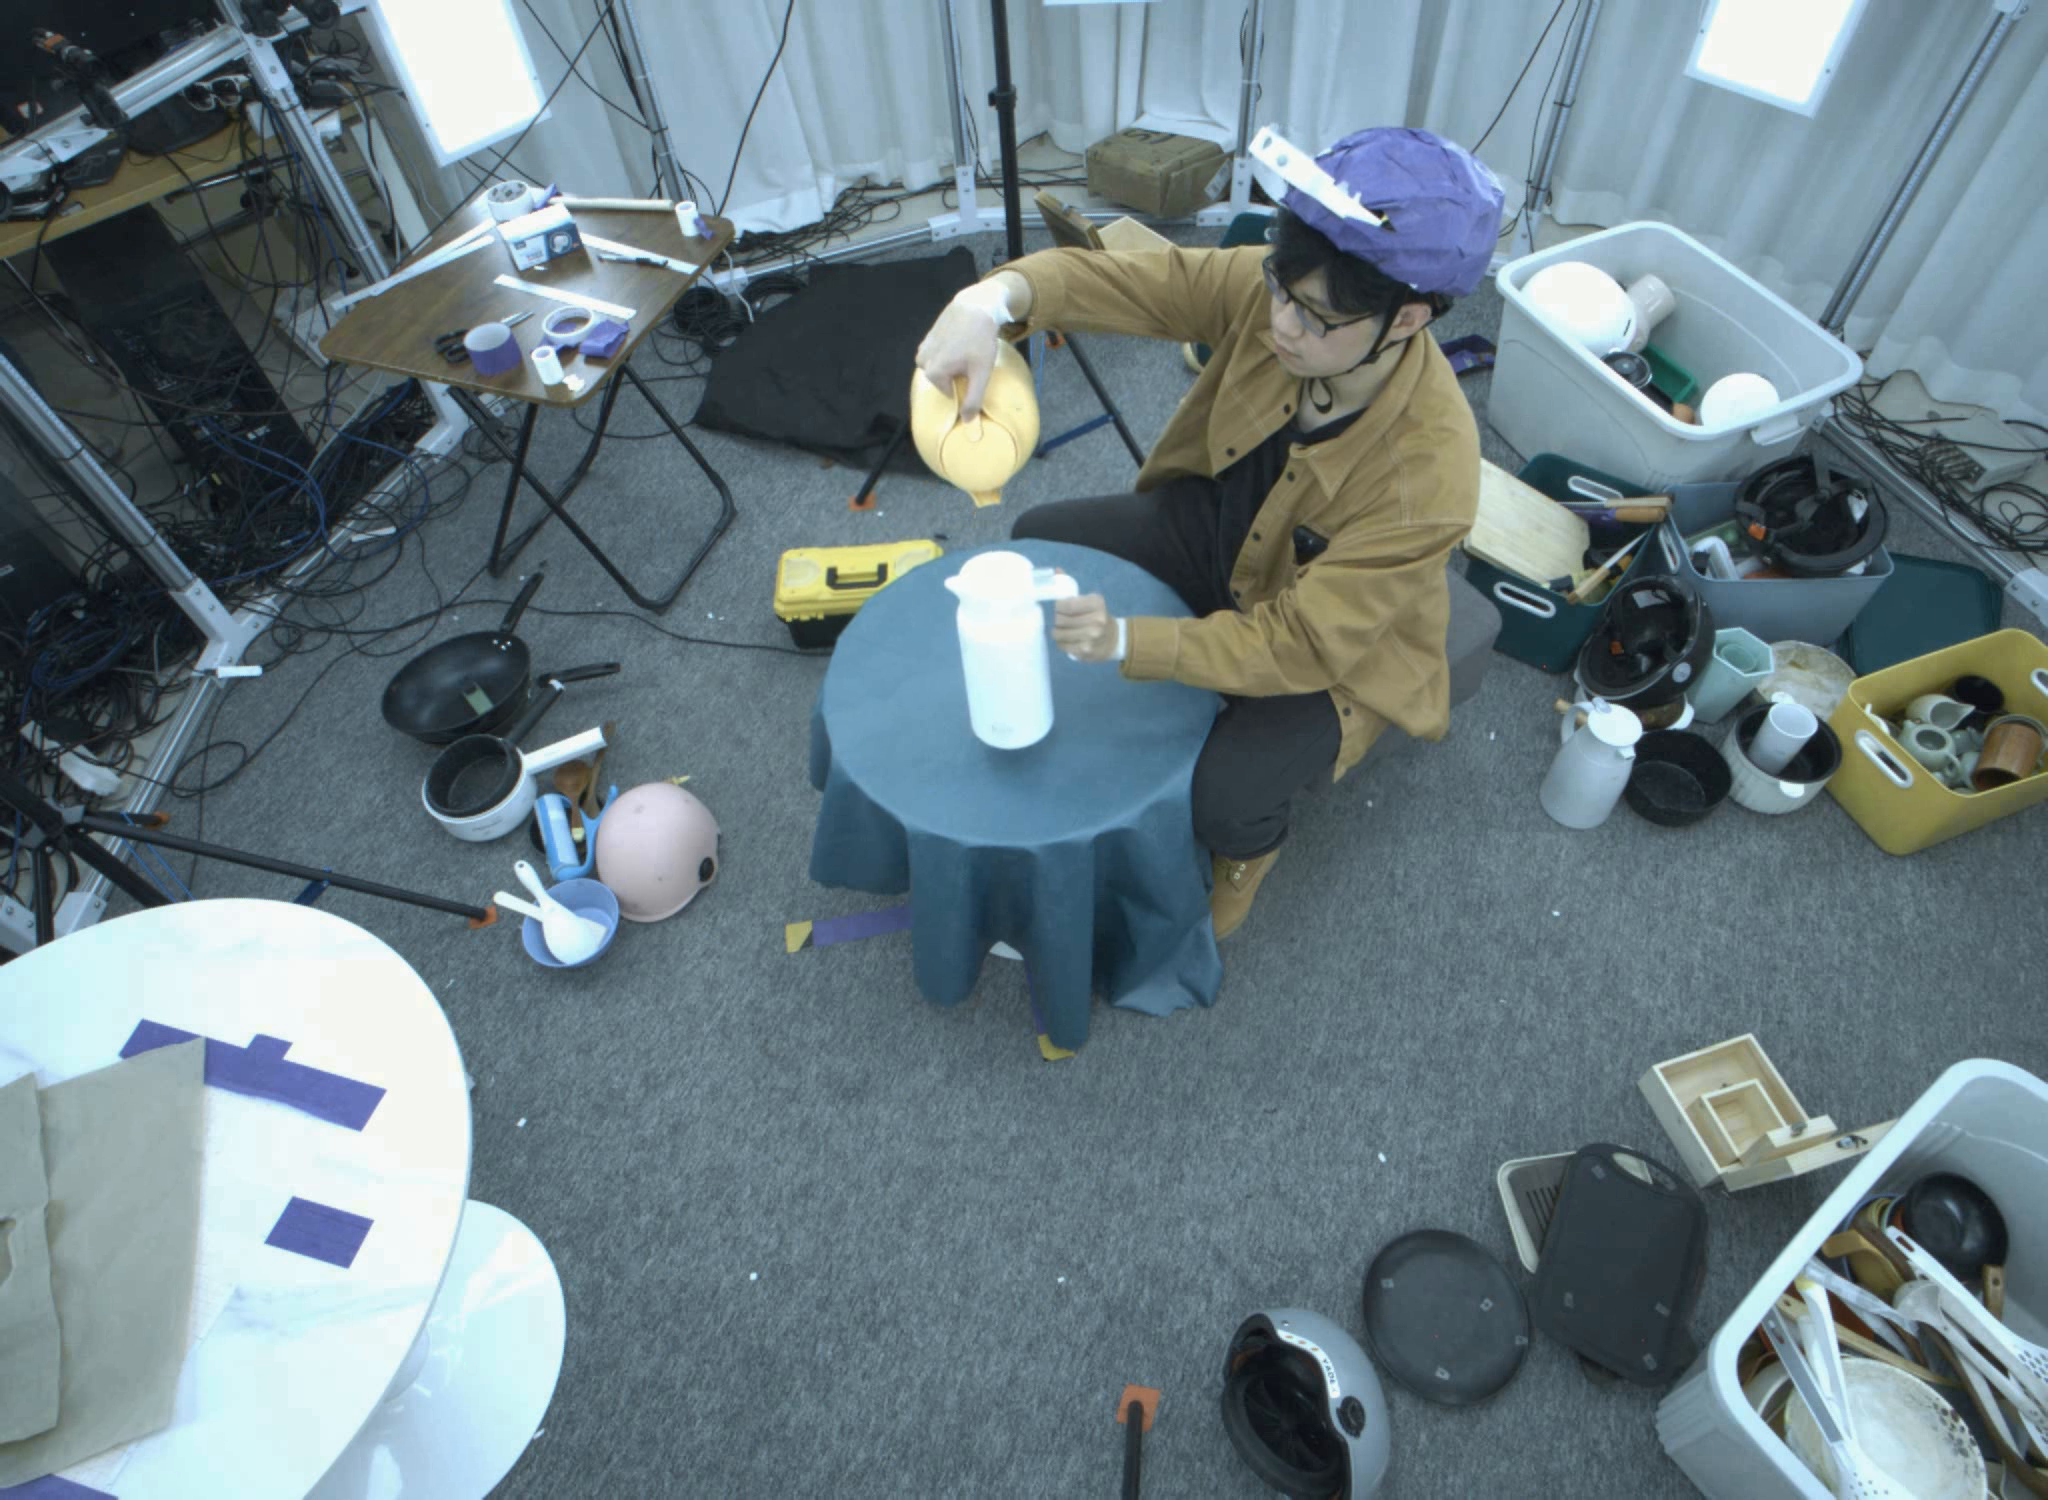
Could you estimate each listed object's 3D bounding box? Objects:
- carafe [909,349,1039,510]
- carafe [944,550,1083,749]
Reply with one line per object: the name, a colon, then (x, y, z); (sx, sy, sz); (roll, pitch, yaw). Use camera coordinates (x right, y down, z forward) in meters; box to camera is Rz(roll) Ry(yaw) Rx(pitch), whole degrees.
carafe: (-0.066, -0.428, 1.507); (0.164, 0.205, 0.256); (-10, 38, -3)
carafe: (-0.008, -0.133, 1.647); (0.173, 0.272, 0.122); (-4, 44, 1)
